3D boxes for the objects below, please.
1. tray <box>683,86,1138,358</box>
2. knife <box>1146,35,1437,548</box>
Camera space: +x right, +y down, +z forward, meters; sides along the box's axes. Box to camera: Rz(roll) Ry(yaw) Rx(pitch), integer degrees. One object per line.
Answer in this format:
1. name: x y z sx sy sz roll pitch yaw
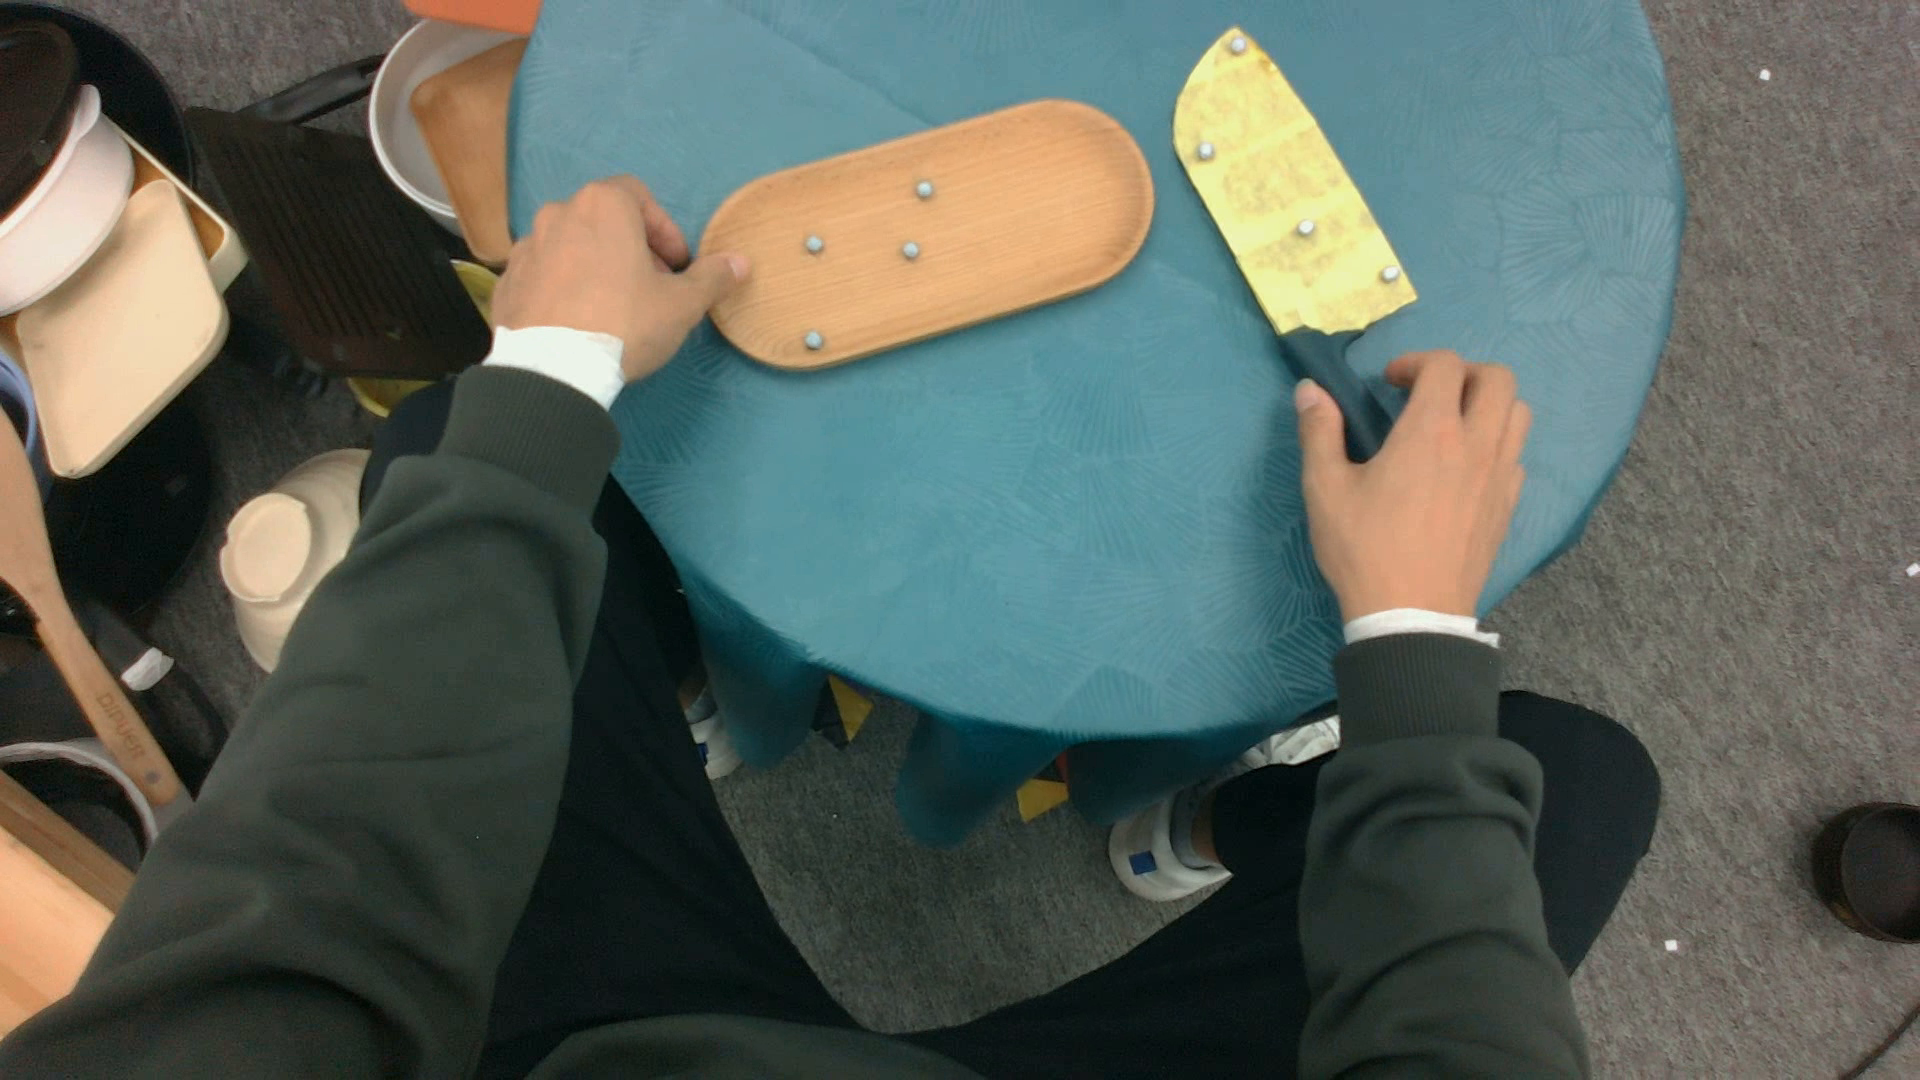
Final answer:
1. tray: -0.023 -0.158 0.686 0.231 0.020 0.102 -18 83 -8
2. knife: 0.175 -0.132 0.696 0.081 0.027 0.290 -24 82 -5
